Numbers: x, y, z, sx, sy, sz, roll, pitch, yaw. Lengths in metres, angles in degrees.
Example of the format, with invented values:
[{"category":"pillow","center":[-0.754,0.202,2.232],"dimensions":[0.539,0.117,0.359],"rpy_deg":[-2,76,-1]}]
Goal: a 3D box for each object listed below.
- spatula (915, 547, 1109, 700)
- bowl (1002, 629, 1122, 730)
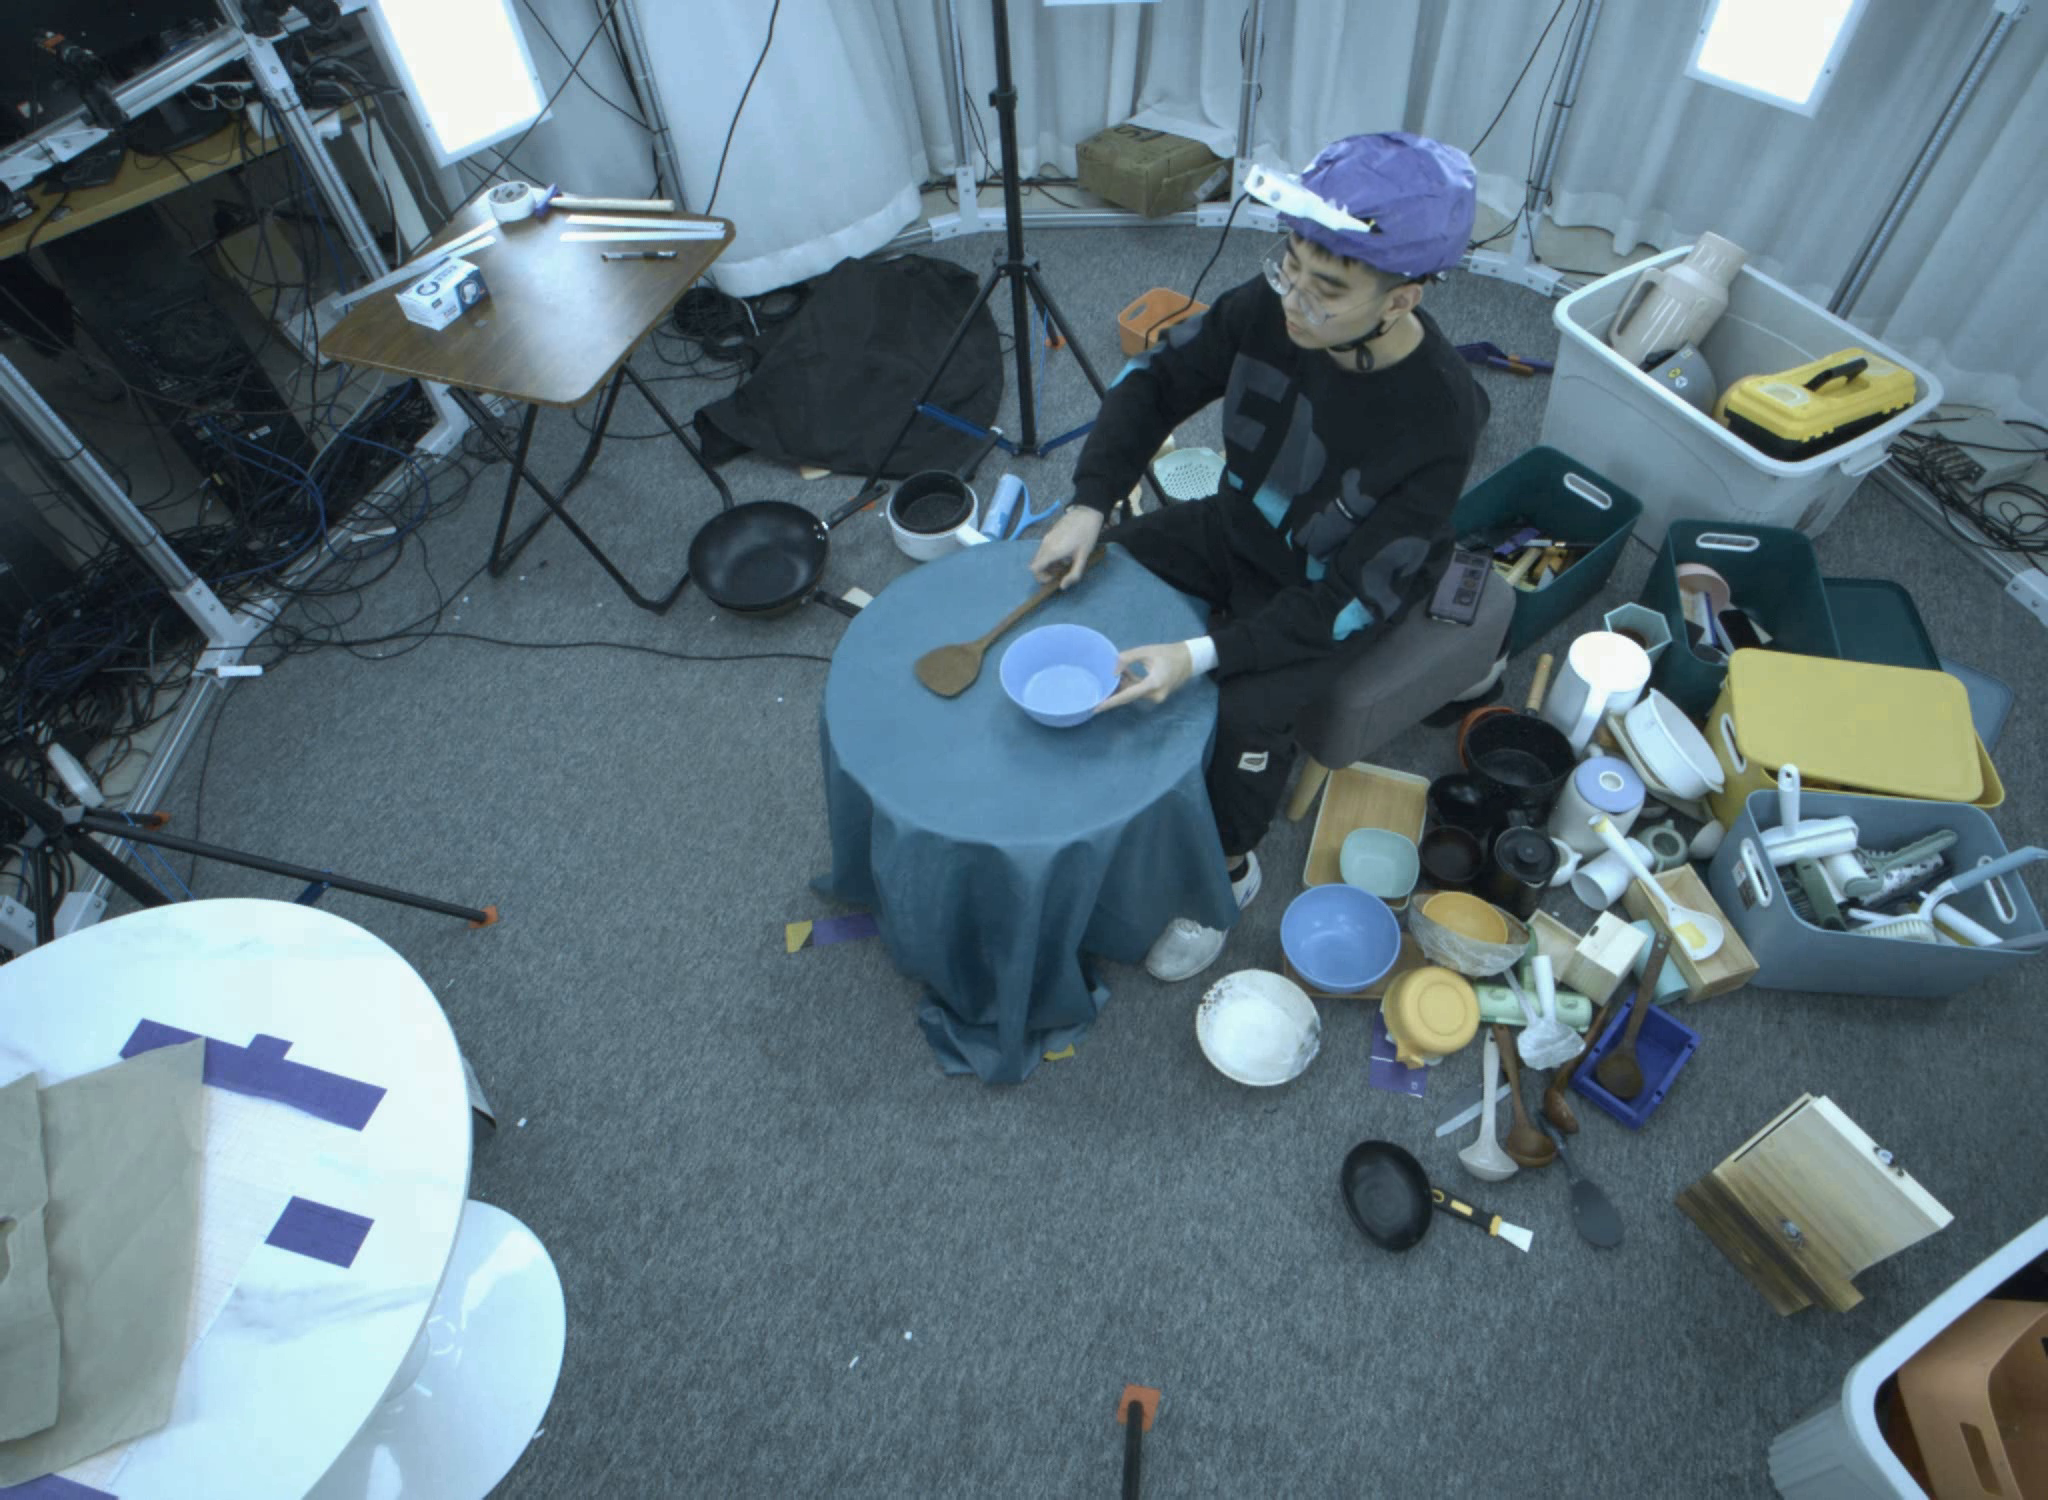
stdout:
[{"category":"spatula","center":[-0.007,-0.210,1.928],"dimensions":[0.388,0.016,0.094],"rpy_deg":[-40,63,-19]},{"category":"bowl","center":[0.056,-0.094,1.810],"dimensions":[0.176,0.071,0.174],"rpy_deg":[0,52,1]}]
